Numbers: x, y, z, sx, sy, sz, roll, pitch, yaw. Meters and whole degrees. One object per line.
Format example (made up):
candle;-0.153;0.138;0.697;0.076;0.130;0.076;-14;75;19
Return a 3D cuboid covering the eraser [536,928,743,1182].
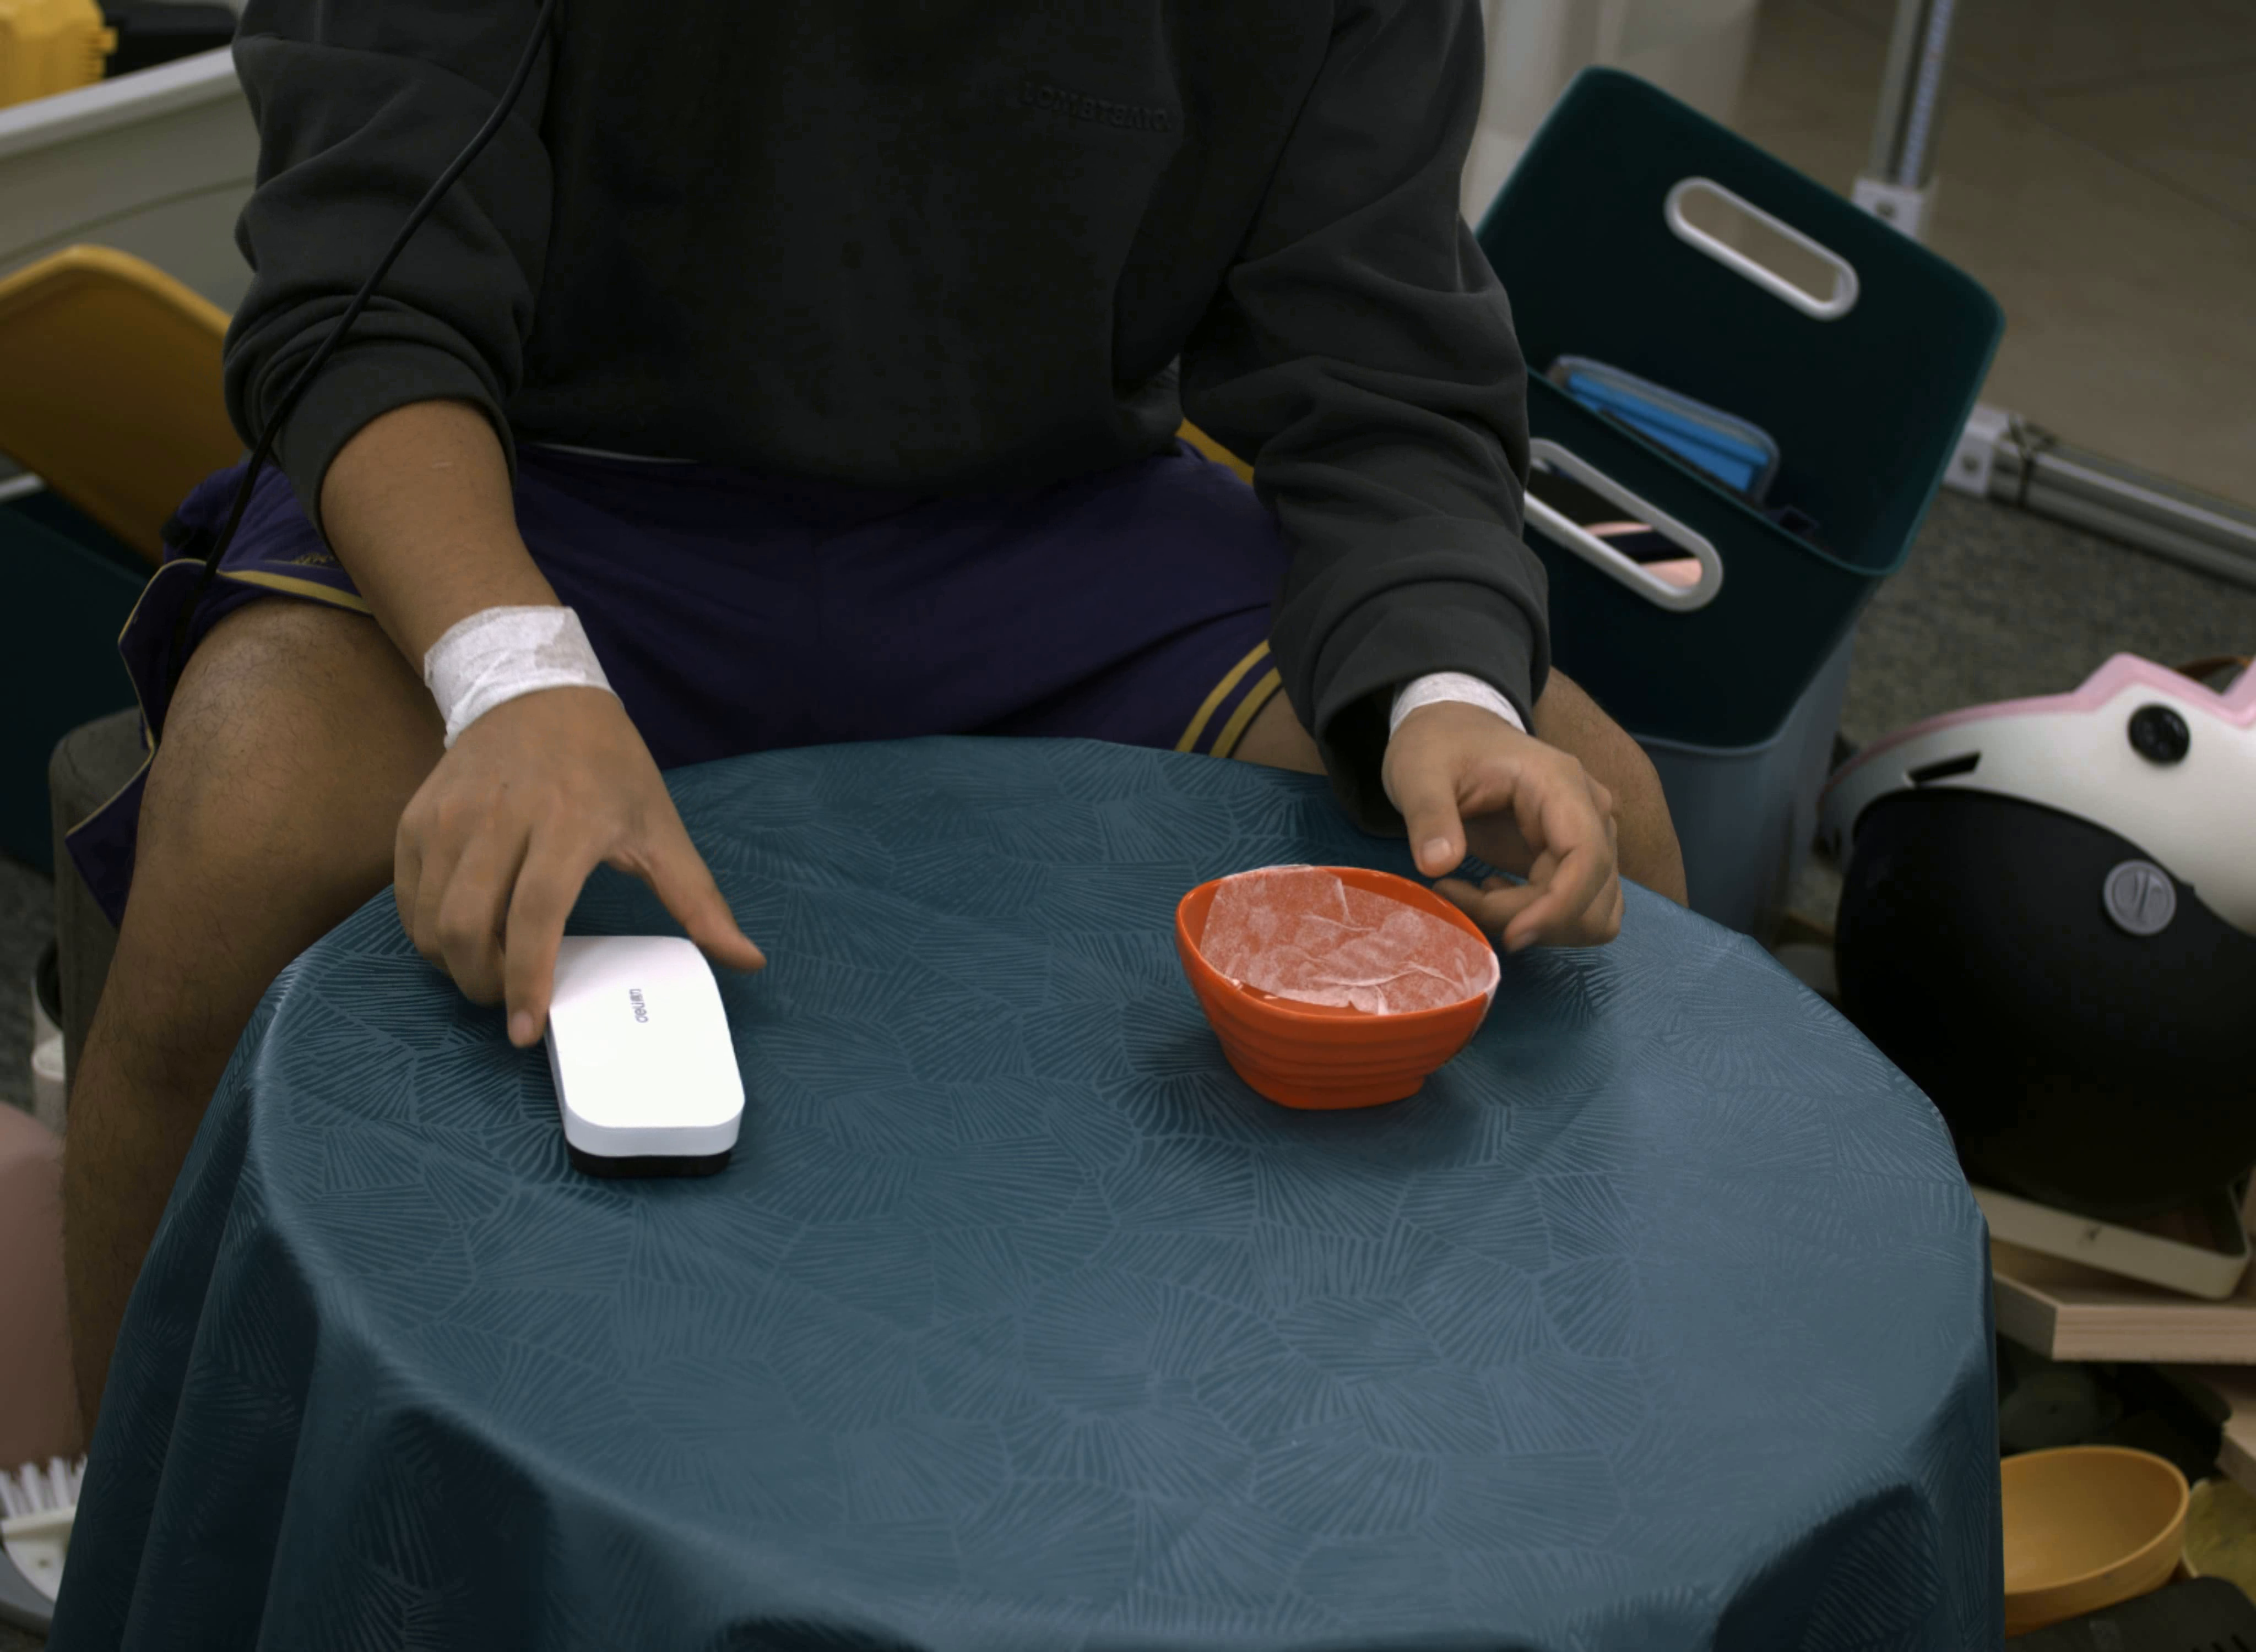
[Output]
eraser;-0.168;0.075;1.824;0.063;0.034;0.132;2;29;-12

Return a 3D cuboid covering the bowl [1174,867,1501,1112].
bowl;0.071;0.062;1.883;0.118;0.051;0.119;4;27;-2
